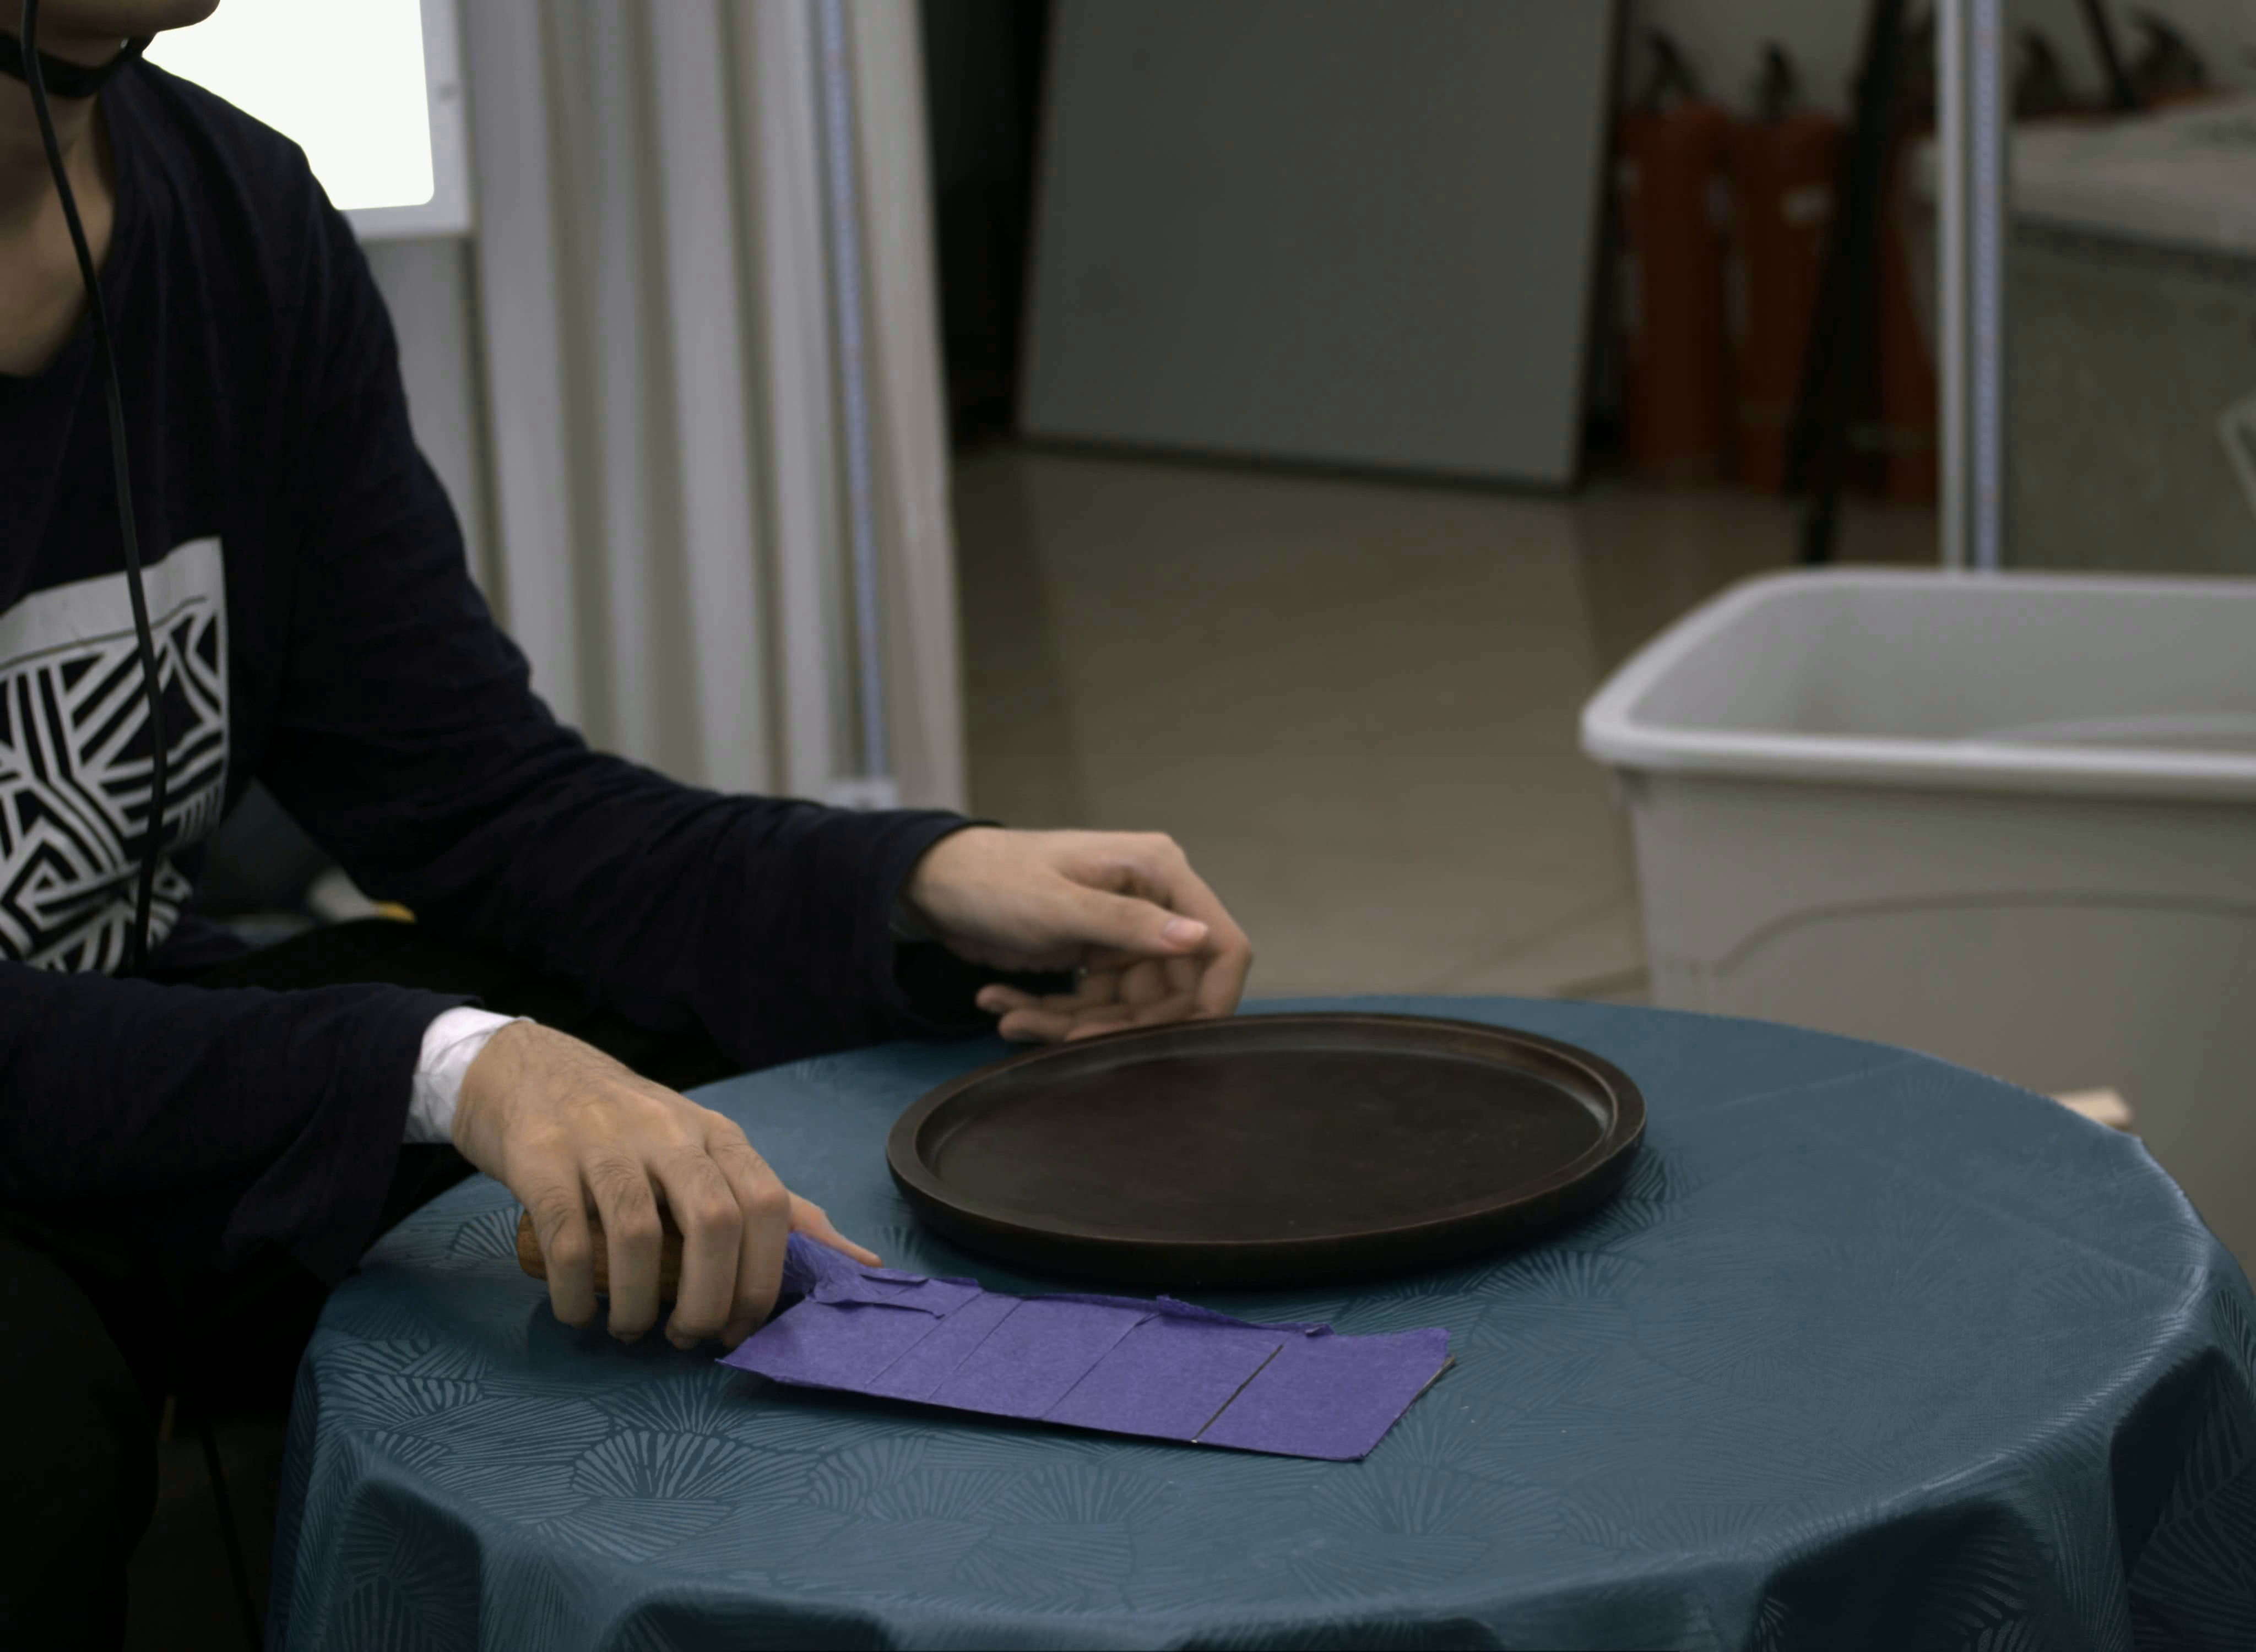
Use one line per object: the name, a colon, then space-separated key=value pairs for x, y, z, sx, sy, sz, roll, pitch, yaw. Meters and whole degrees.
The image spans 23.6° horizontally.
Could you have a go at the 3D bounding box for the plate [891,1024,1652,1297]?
plate: x=0.047 y=0.107 z=1.770 sx=0.251 sy=0.029 sz=0.255 roll=-3 pitch=14 yaw=0

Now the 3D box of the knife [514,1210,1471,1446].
knife: x=-0.057 y=0.150 z=1.617 sx=0.315 sy=0.032 sz=0.102 roll=3 pitch=15 yaw=25
